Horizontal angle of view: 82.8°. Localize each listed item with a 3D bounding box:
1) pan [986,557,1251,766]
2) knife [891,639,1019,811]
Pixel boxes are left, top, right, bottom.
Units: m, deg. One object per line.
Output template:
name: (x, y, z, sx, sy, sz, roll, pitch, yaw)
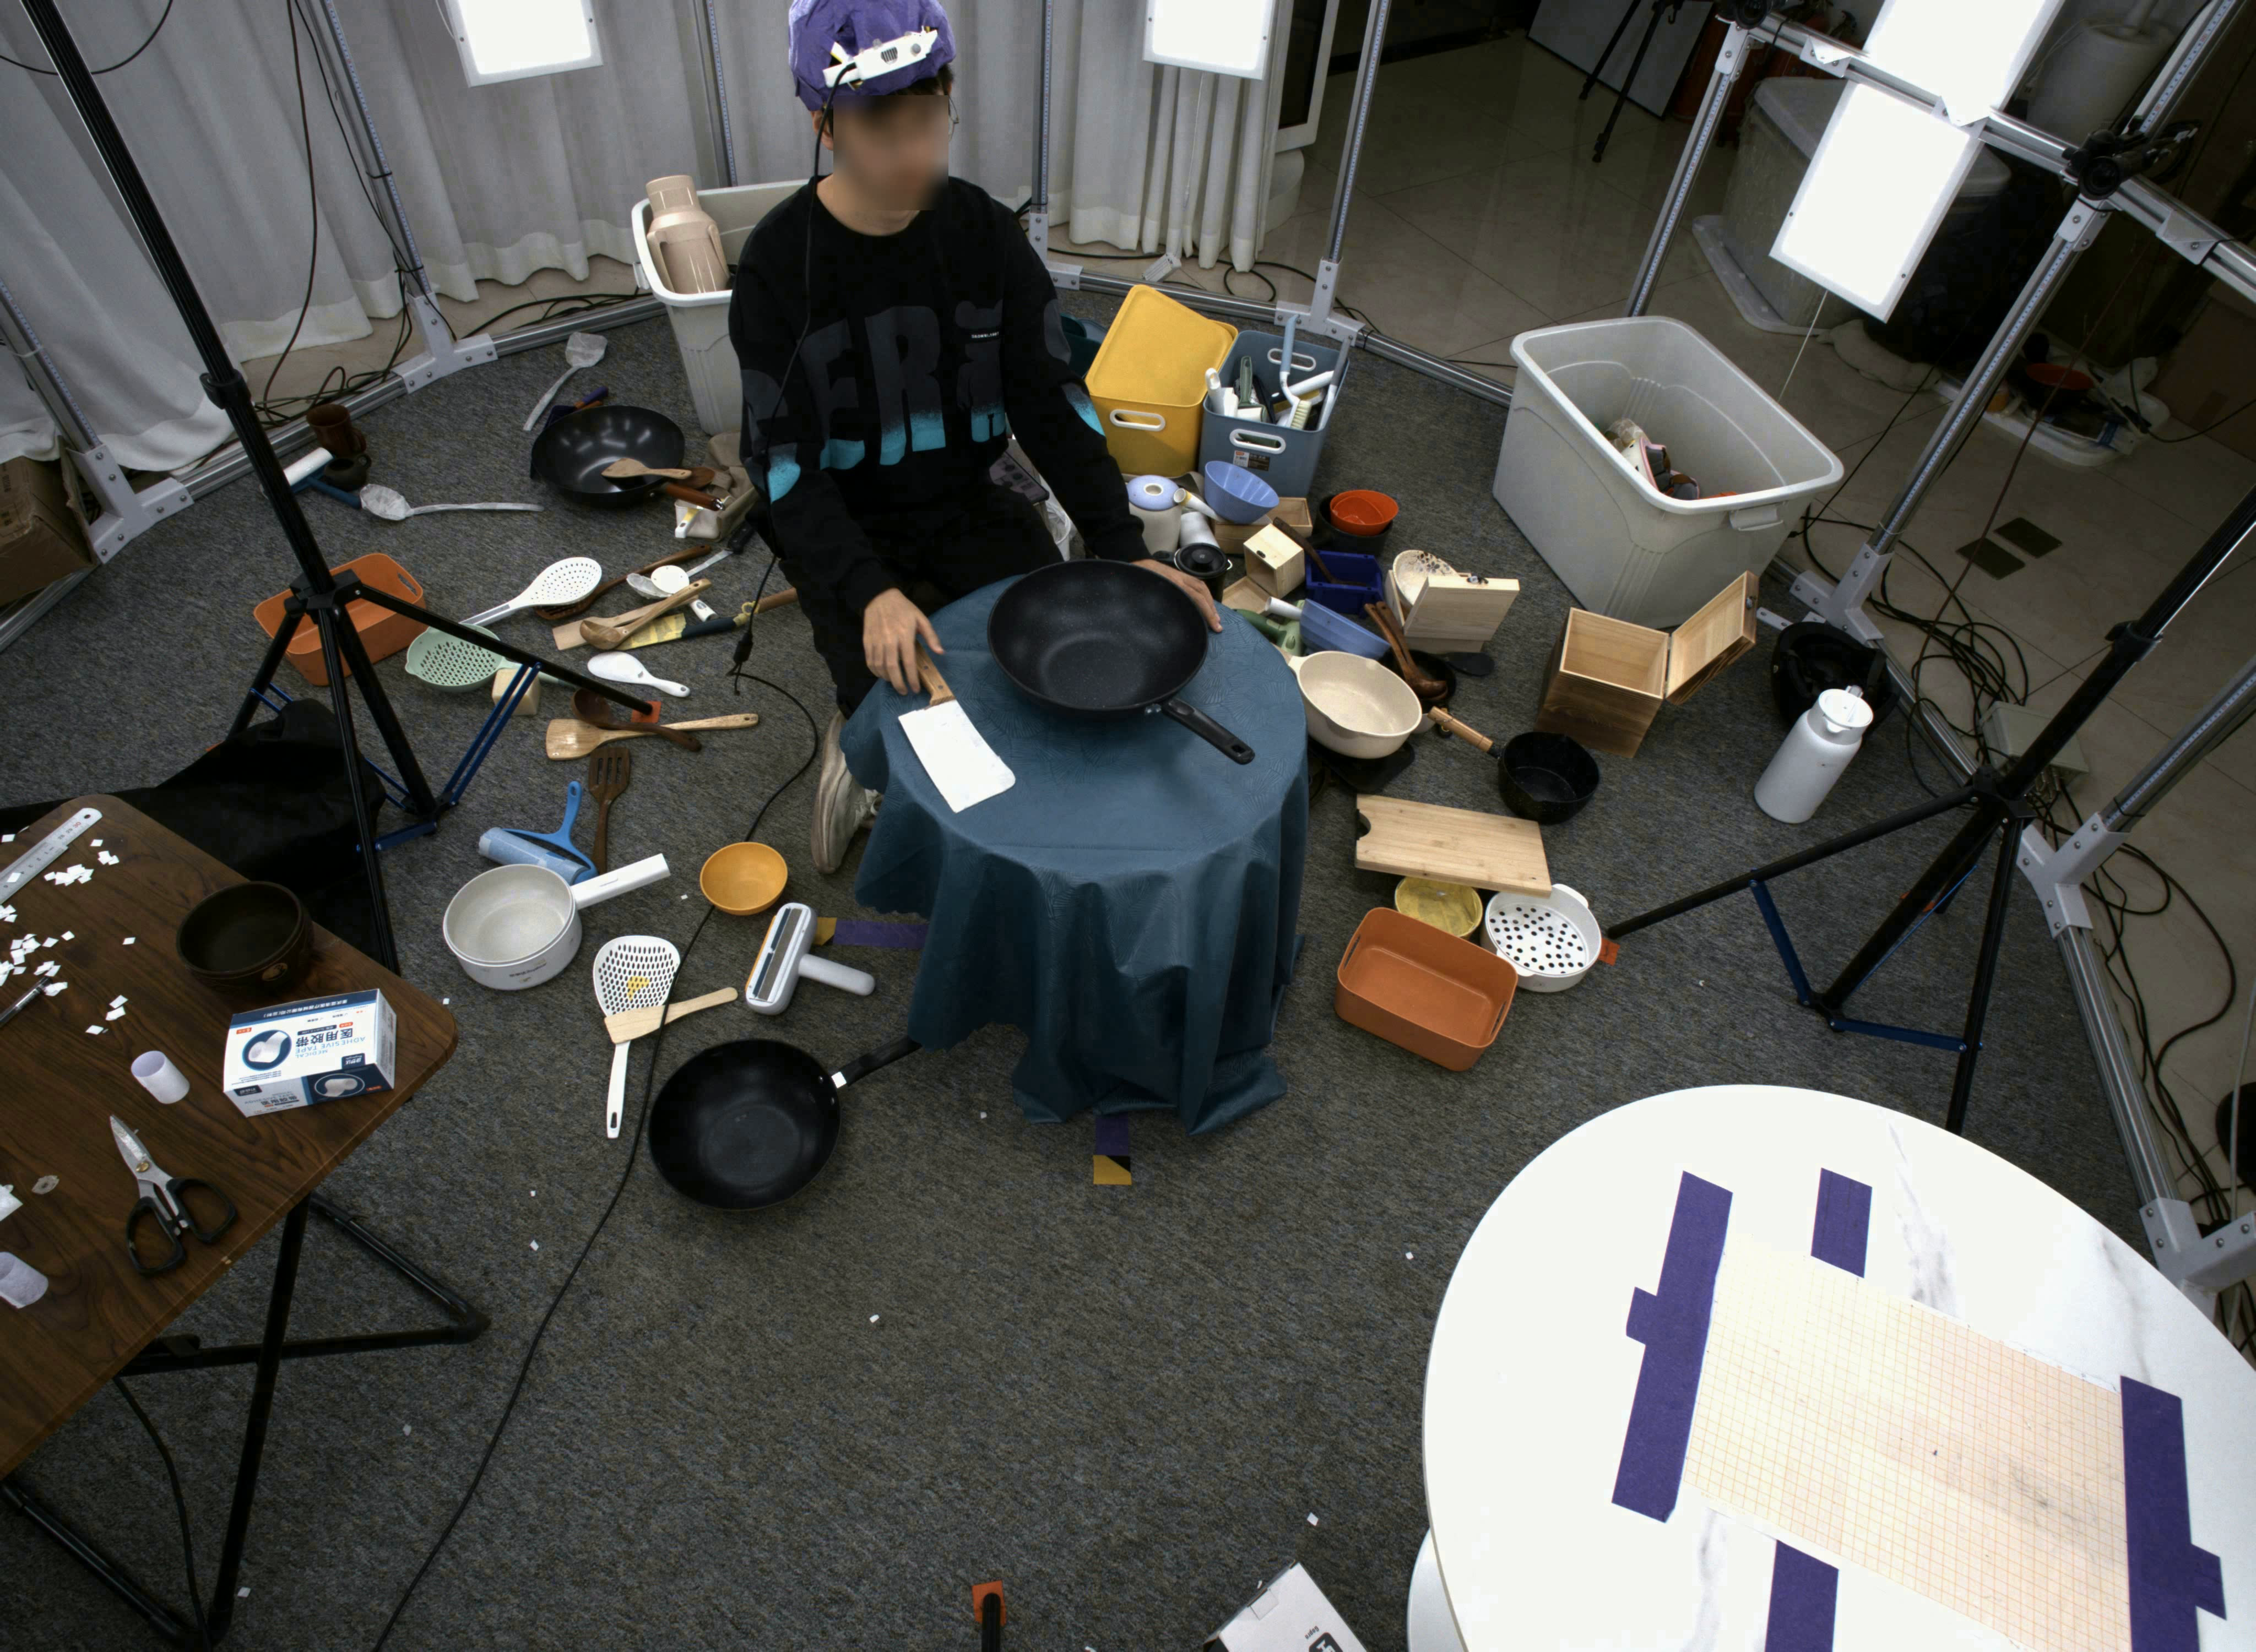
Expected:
pan: (0.005, -0.203, 1.777, 0.312, 0.109, 0.486, -29, 57, -24)
knife: (-0.252, -0.146, 1.767, 0.114, 0.021, 0.322, -18, 55, -18)
